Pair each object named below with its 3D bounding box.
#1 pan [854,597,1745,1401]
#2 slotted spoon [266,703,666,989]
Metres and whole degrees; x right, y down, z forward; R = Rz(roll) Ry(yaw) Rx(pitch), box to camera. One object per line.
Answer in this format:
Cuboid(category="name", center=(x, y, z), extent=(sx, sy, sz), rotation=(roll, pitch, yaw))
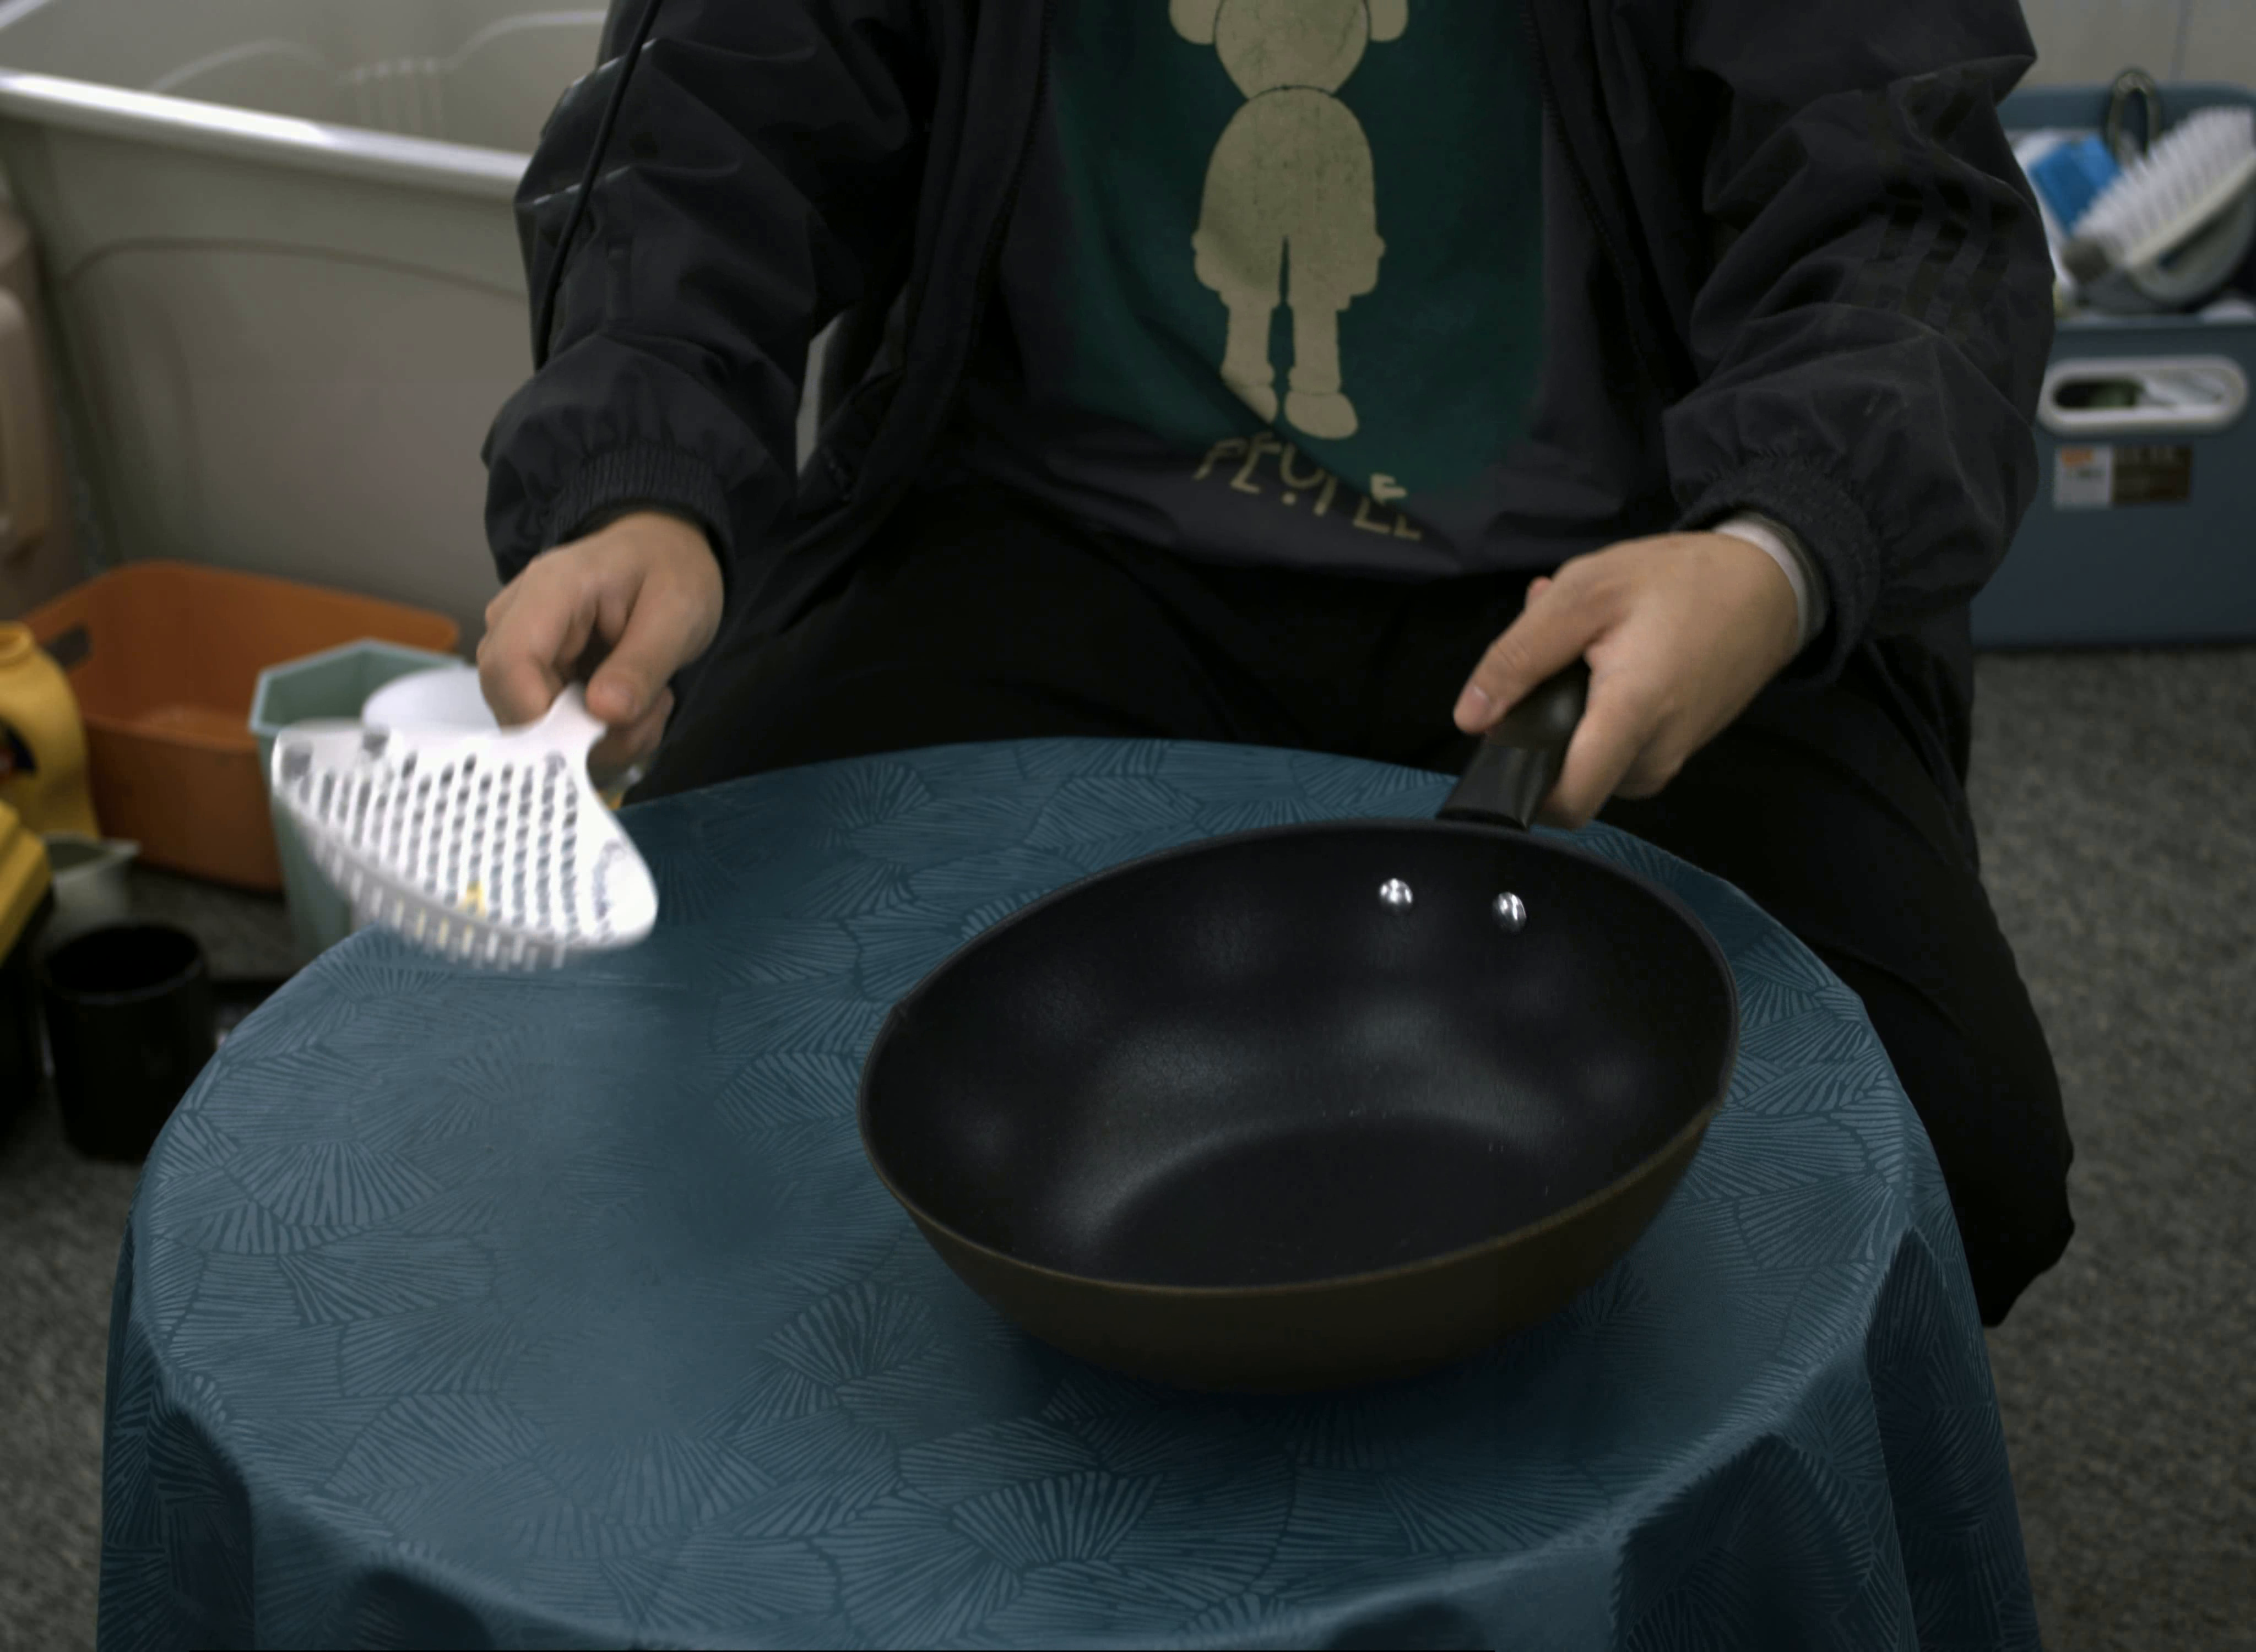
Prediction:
Cuboid(category="pan", center=(0.096, 0.059, 1.860), extent=(0.286, 0.086, 0.471), rotation=(7, 31, 24))
Cuboid(category="slotted spoon", center=(-0.205, -0.006, 1.913), extent=(0.136, 0.050, 0.352), rotation=(25, 18, 0))
